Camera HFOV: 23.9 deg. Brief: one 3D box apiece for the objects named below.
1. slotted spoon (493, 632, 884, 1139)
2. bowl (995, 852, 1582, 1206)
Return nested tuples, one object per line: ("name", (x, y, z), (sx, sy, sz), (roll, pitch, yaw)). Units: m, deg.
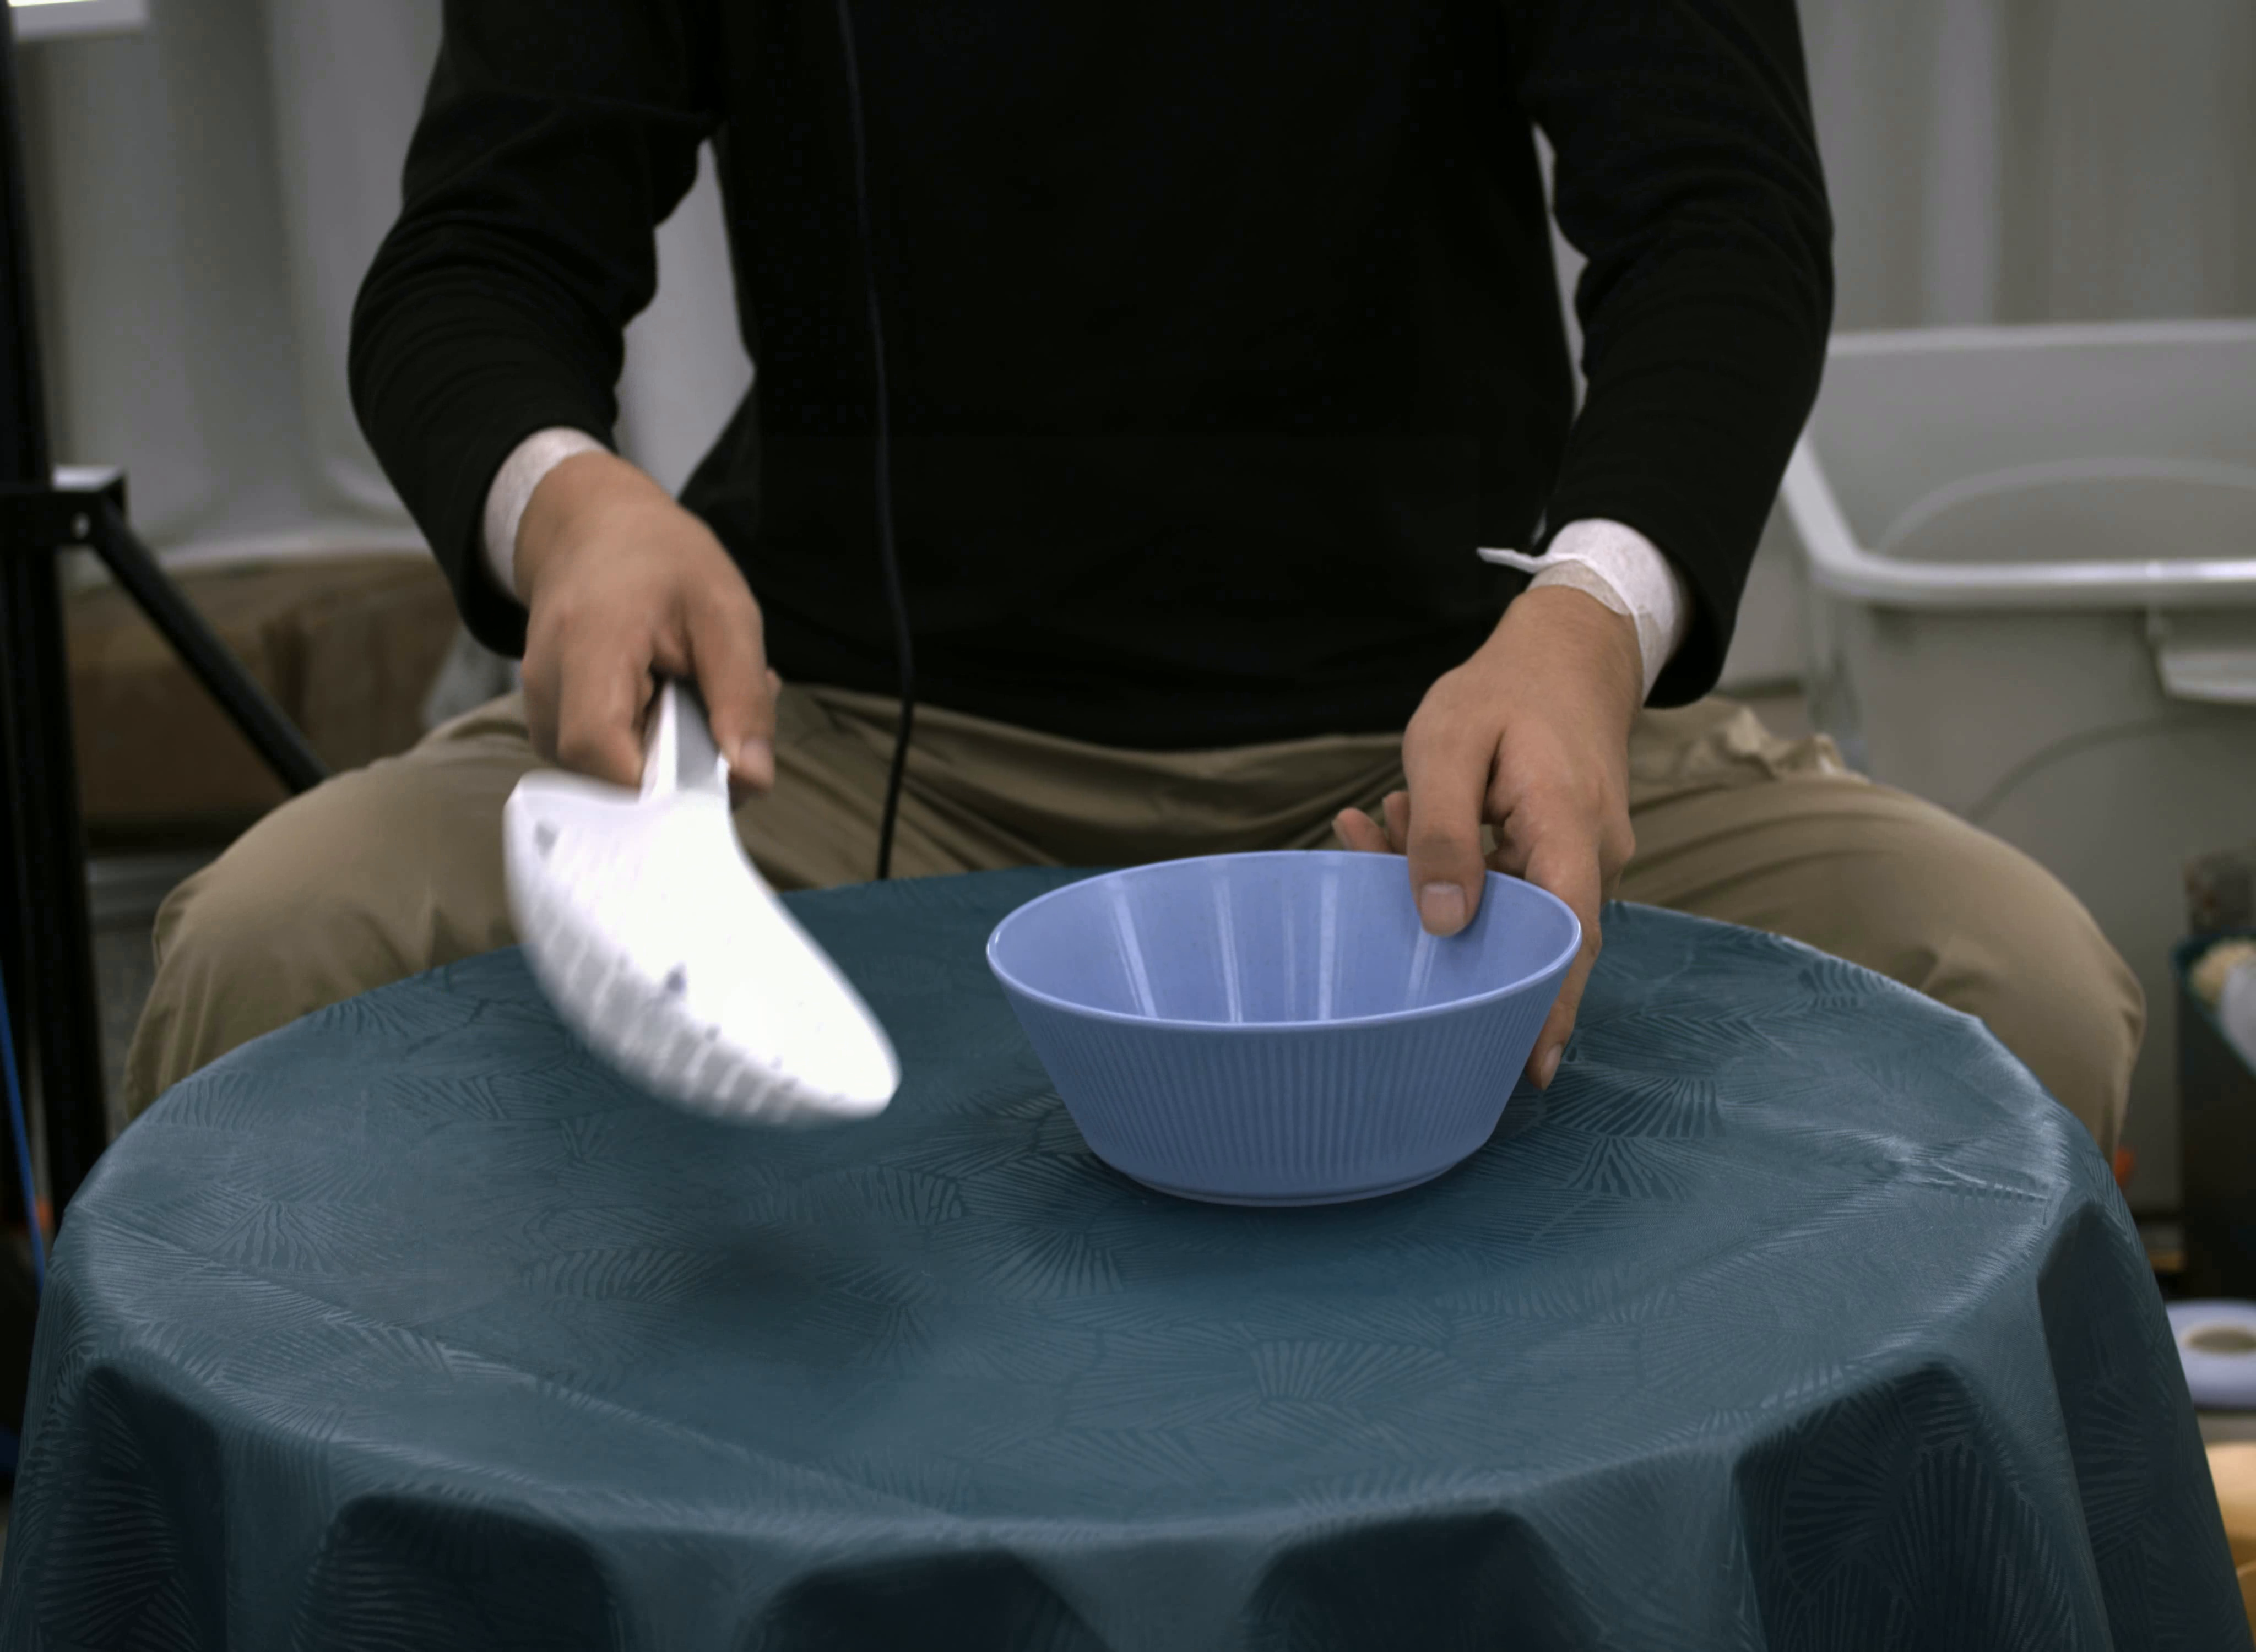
("slotted spoon", (-0.134, 0.006, 1.590), (0.134, 0.046, 0.352), (36, 18, -15))
("bowl", (0.048, 0.063, 1.580), (0.175, 0.070, 0.177), (-2, 15, -1))
